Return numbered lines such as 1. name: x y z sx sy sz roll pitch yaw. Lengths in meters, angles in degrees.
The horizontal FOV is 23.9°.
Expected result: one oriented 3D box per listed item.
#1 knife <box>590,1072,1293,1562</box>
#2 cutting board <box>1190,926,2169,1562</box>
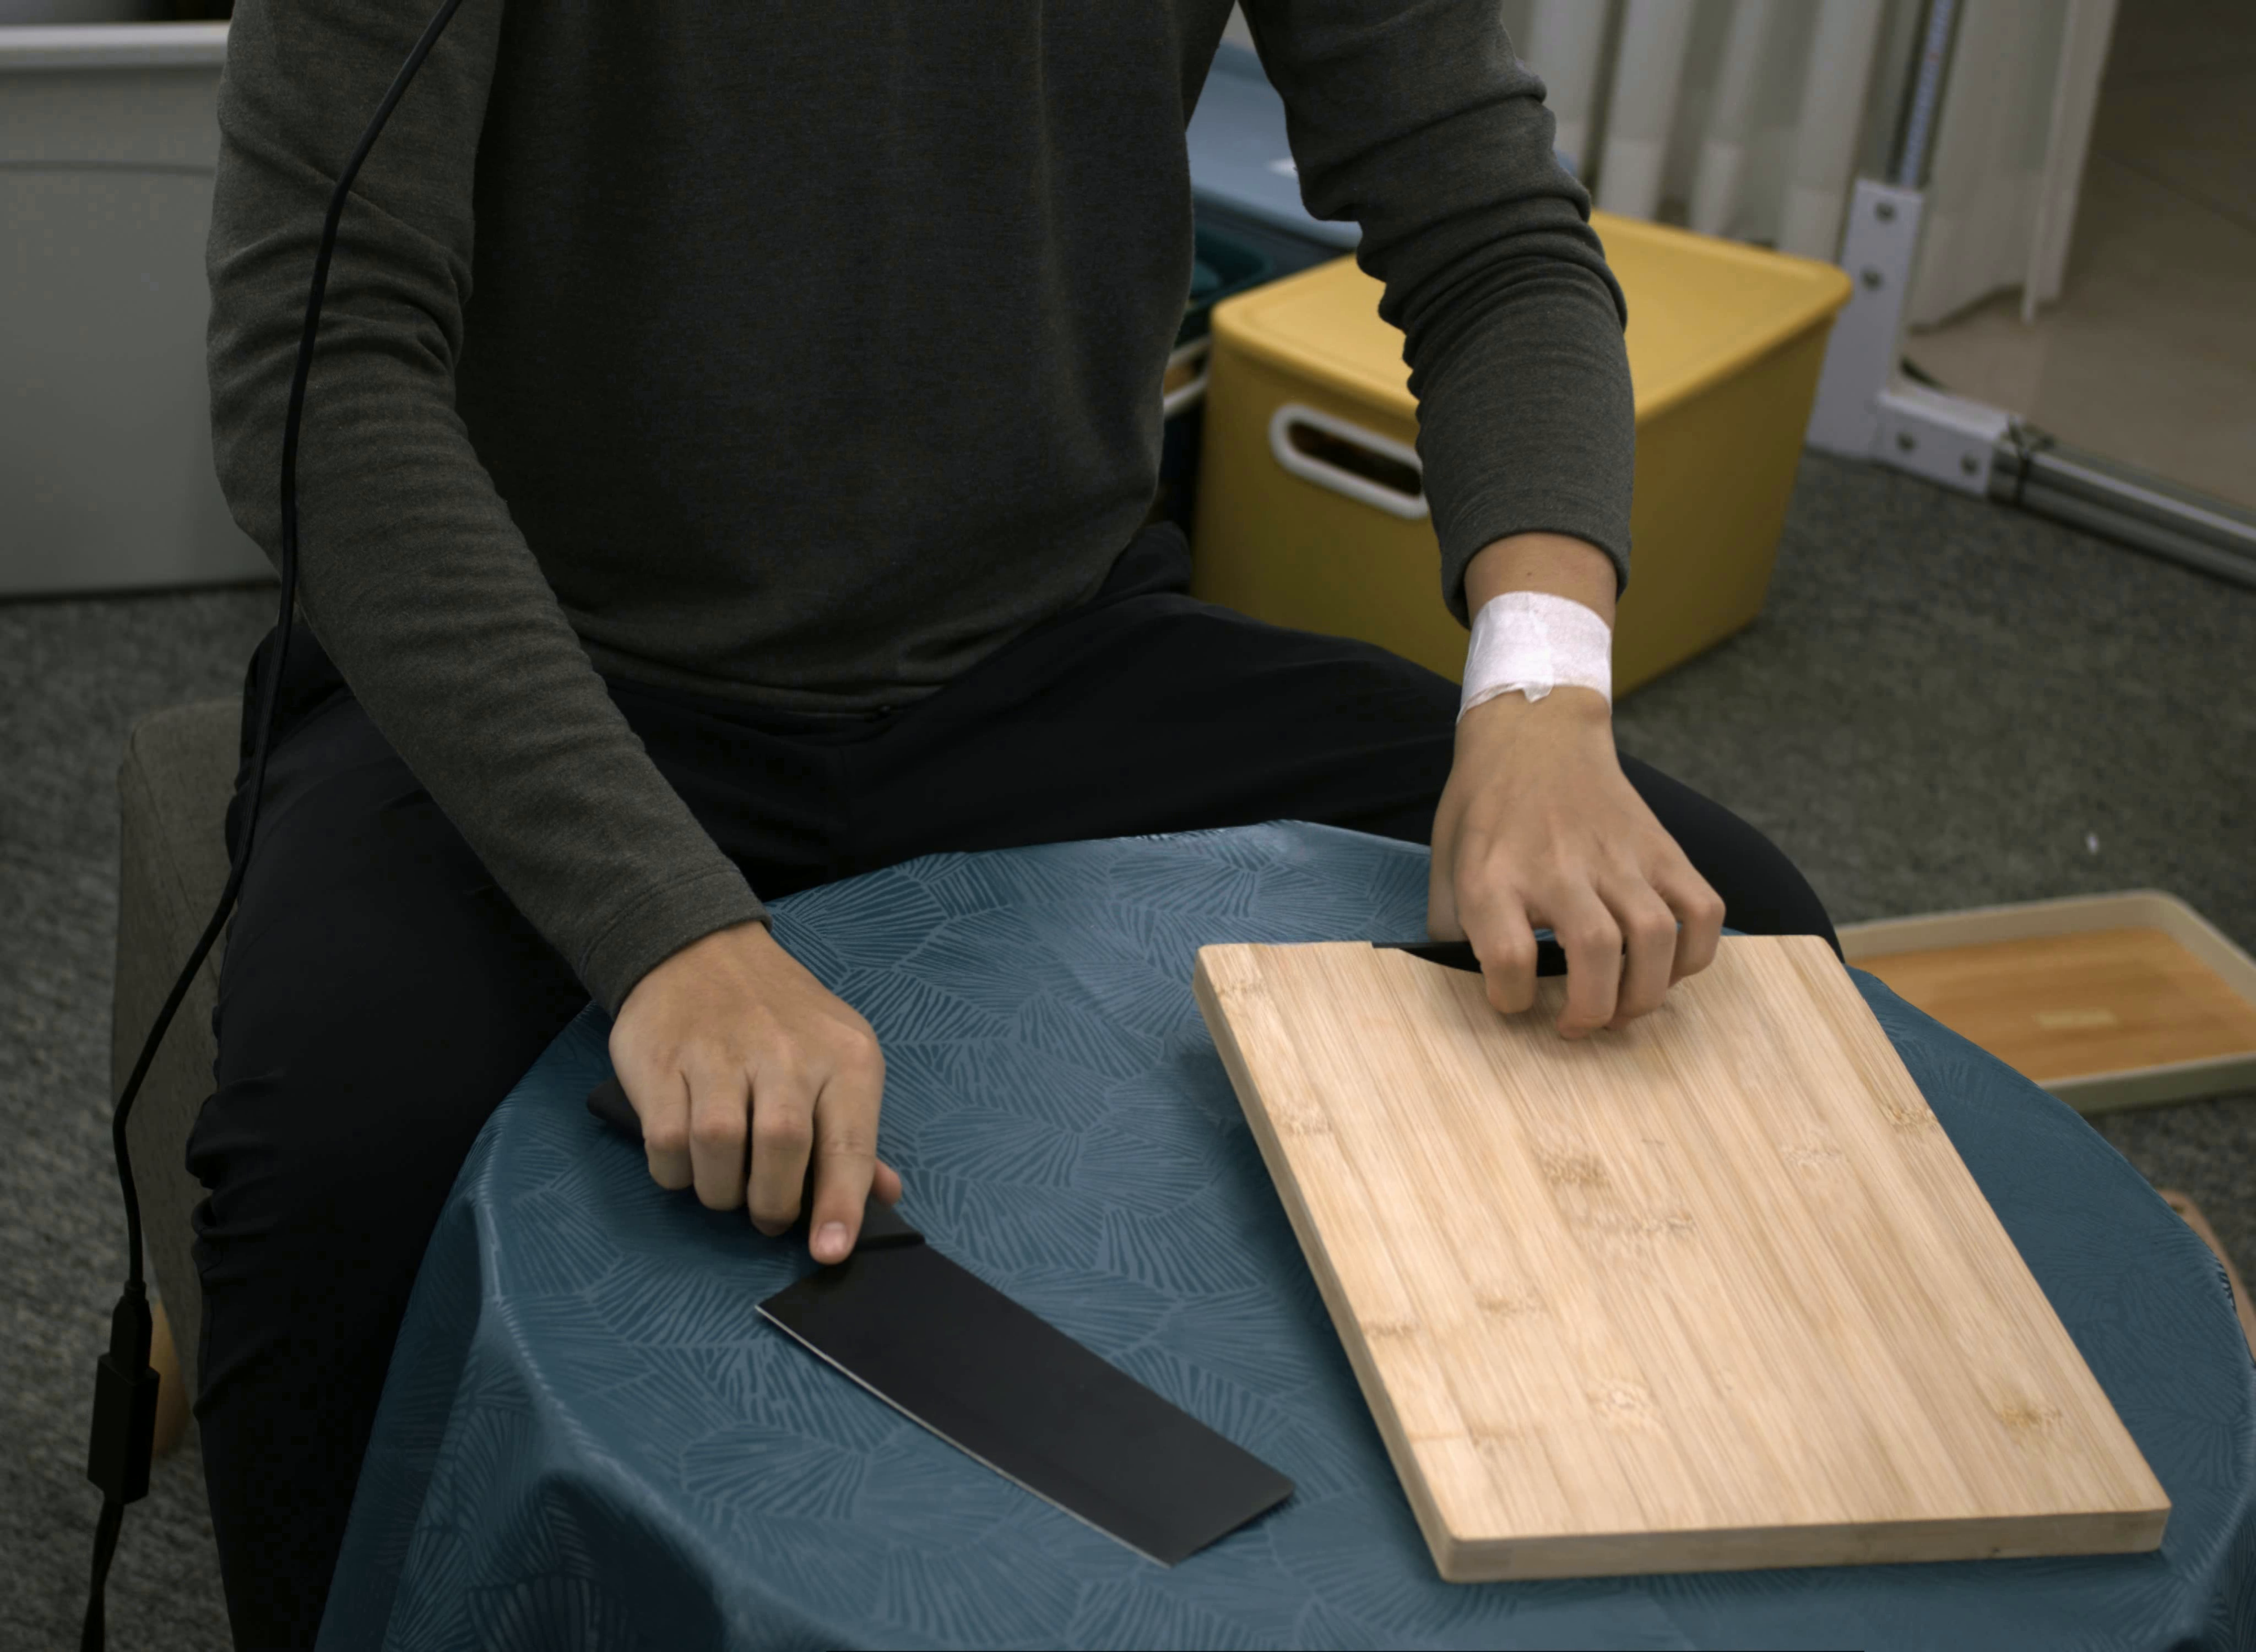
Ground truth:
1. knife: -0.073 0.154 1.715 0.080 0.021 0.305 -21 39 -36
2. cutting board: 0.174 0.133 1.786 0.249 0.023 0.352 -1 31 -15
